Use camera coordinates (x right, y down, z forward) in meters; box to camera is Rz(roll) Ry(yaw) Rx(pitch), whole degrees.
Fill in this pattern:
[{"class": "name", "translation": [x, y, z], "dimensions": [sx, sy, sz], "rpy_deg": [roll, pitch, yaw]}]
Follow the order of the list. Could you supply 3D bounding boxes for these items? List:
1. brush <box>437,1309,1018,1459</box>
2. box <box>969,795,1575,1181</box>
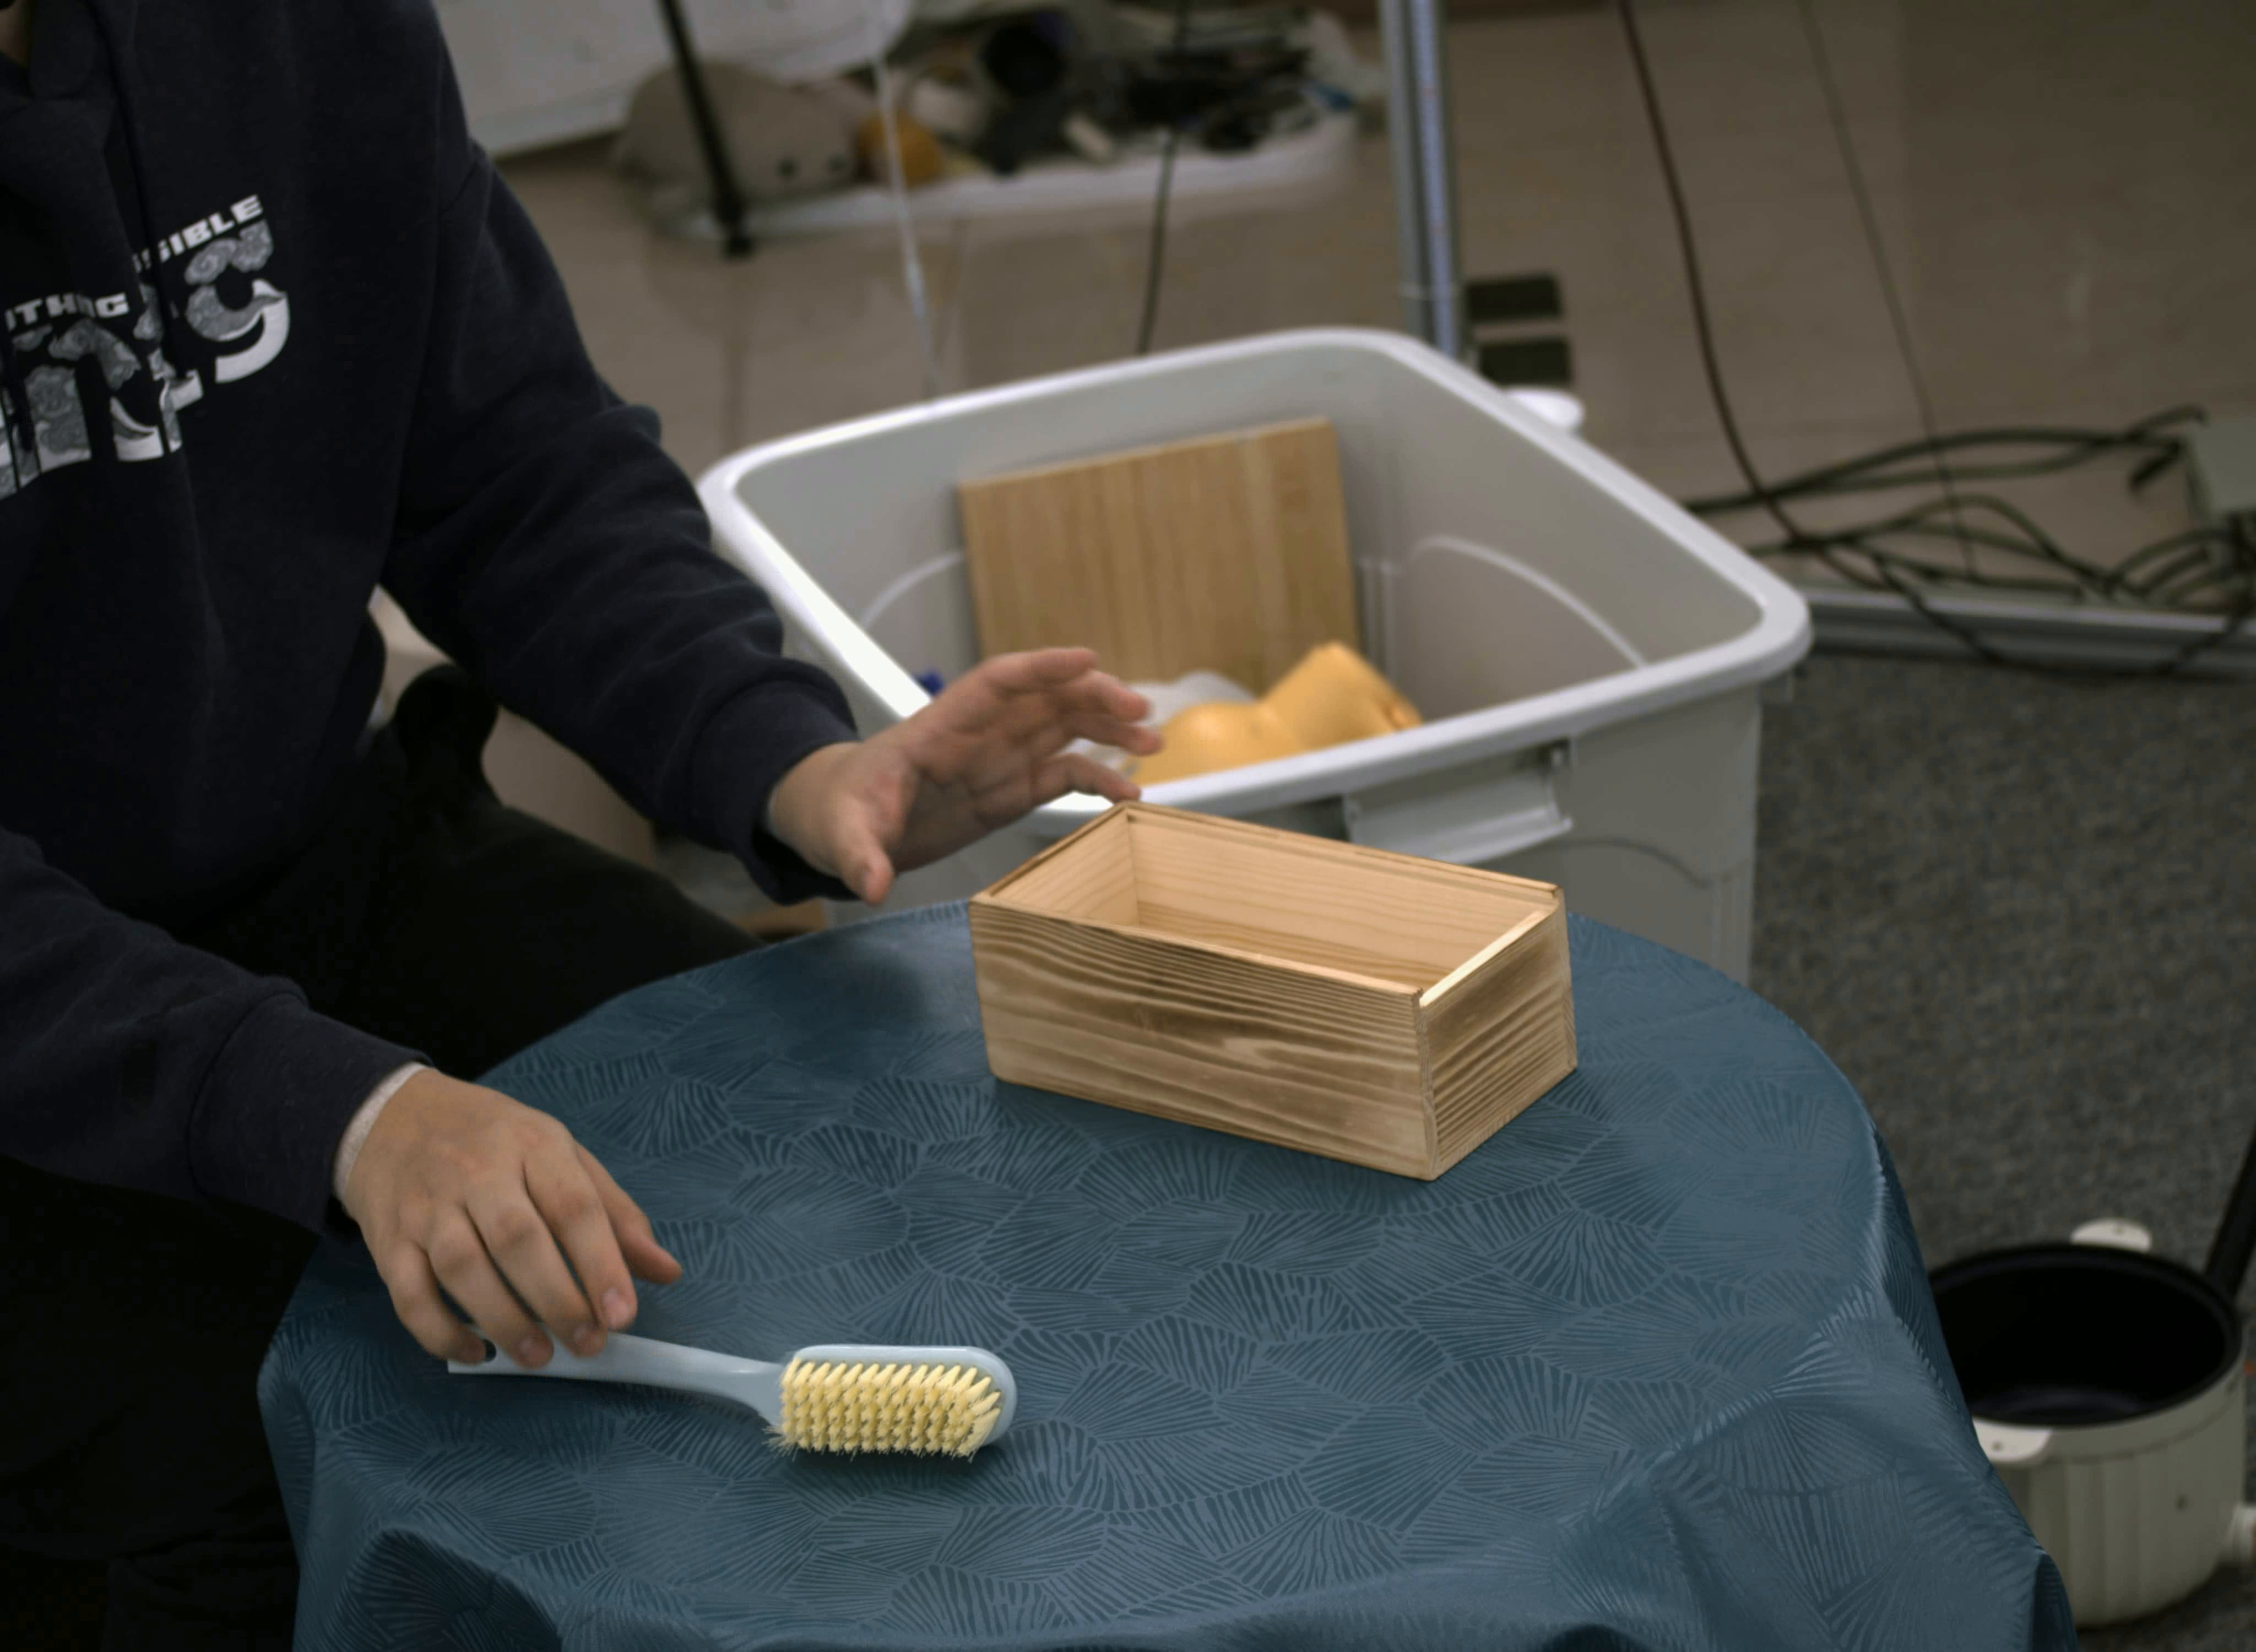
[{"class": "brush", "translation": [-0.149, 0.195, 2.015], "dimensions": [0.228, 0.038, 0.049], "rpy_deg": [6, 20, 25]}, {"class": "box", "translation": [0.056, 0.061, 2.208], "dimensions": [0.210, 0.081, 0.106], "rpy_deg": [12, 30, 34]}]
